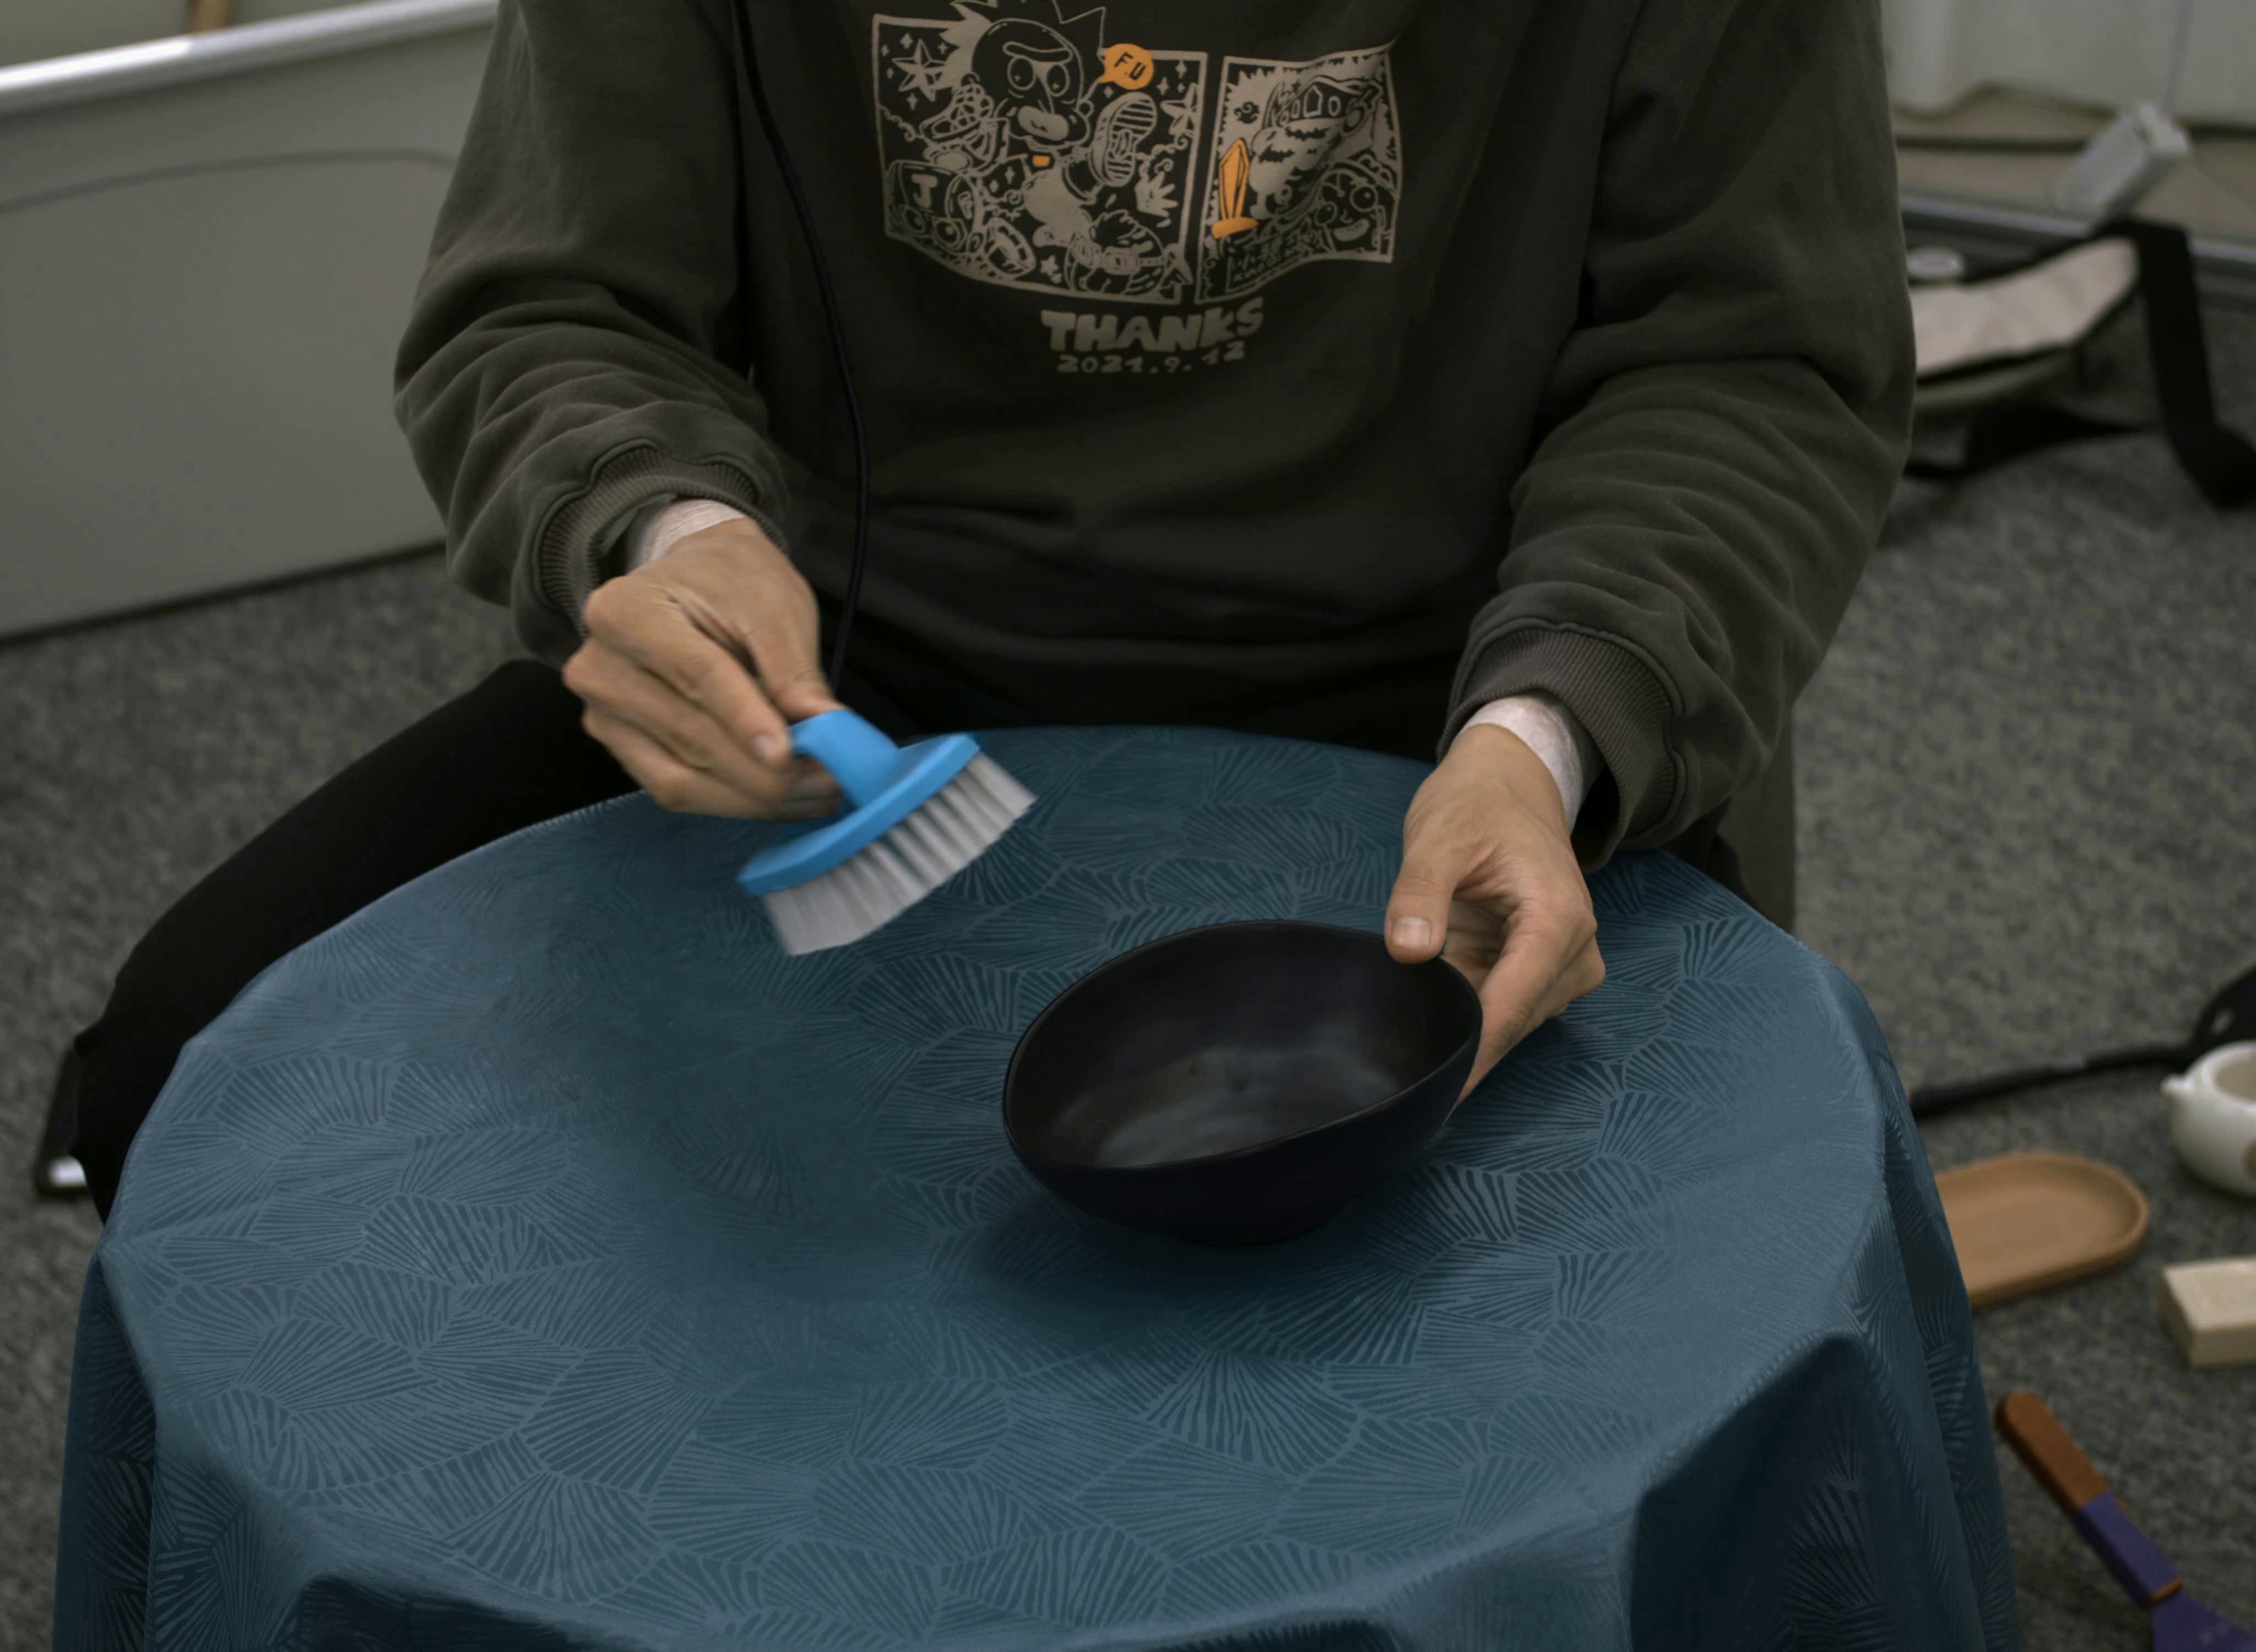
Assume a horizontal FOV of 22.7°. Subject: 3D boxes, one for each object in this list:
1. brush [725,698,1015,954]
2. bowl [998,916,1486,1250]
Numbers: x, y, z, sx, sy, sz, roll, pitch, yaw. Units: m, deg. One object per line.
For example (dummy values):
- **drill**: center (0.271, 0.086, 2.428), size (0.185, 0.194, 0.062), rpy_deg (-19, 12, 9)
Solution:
- **brush**: center (-0.094, -0.008, 1.818), size (0.085, 0.063, 0.141), rpy_deg (-41, 7, -15)
- **bowl**: center (0.040, 0.095, 1.842), size (0.172, 0.066, 0.137), rpy_deg (-22, 32, -30)
